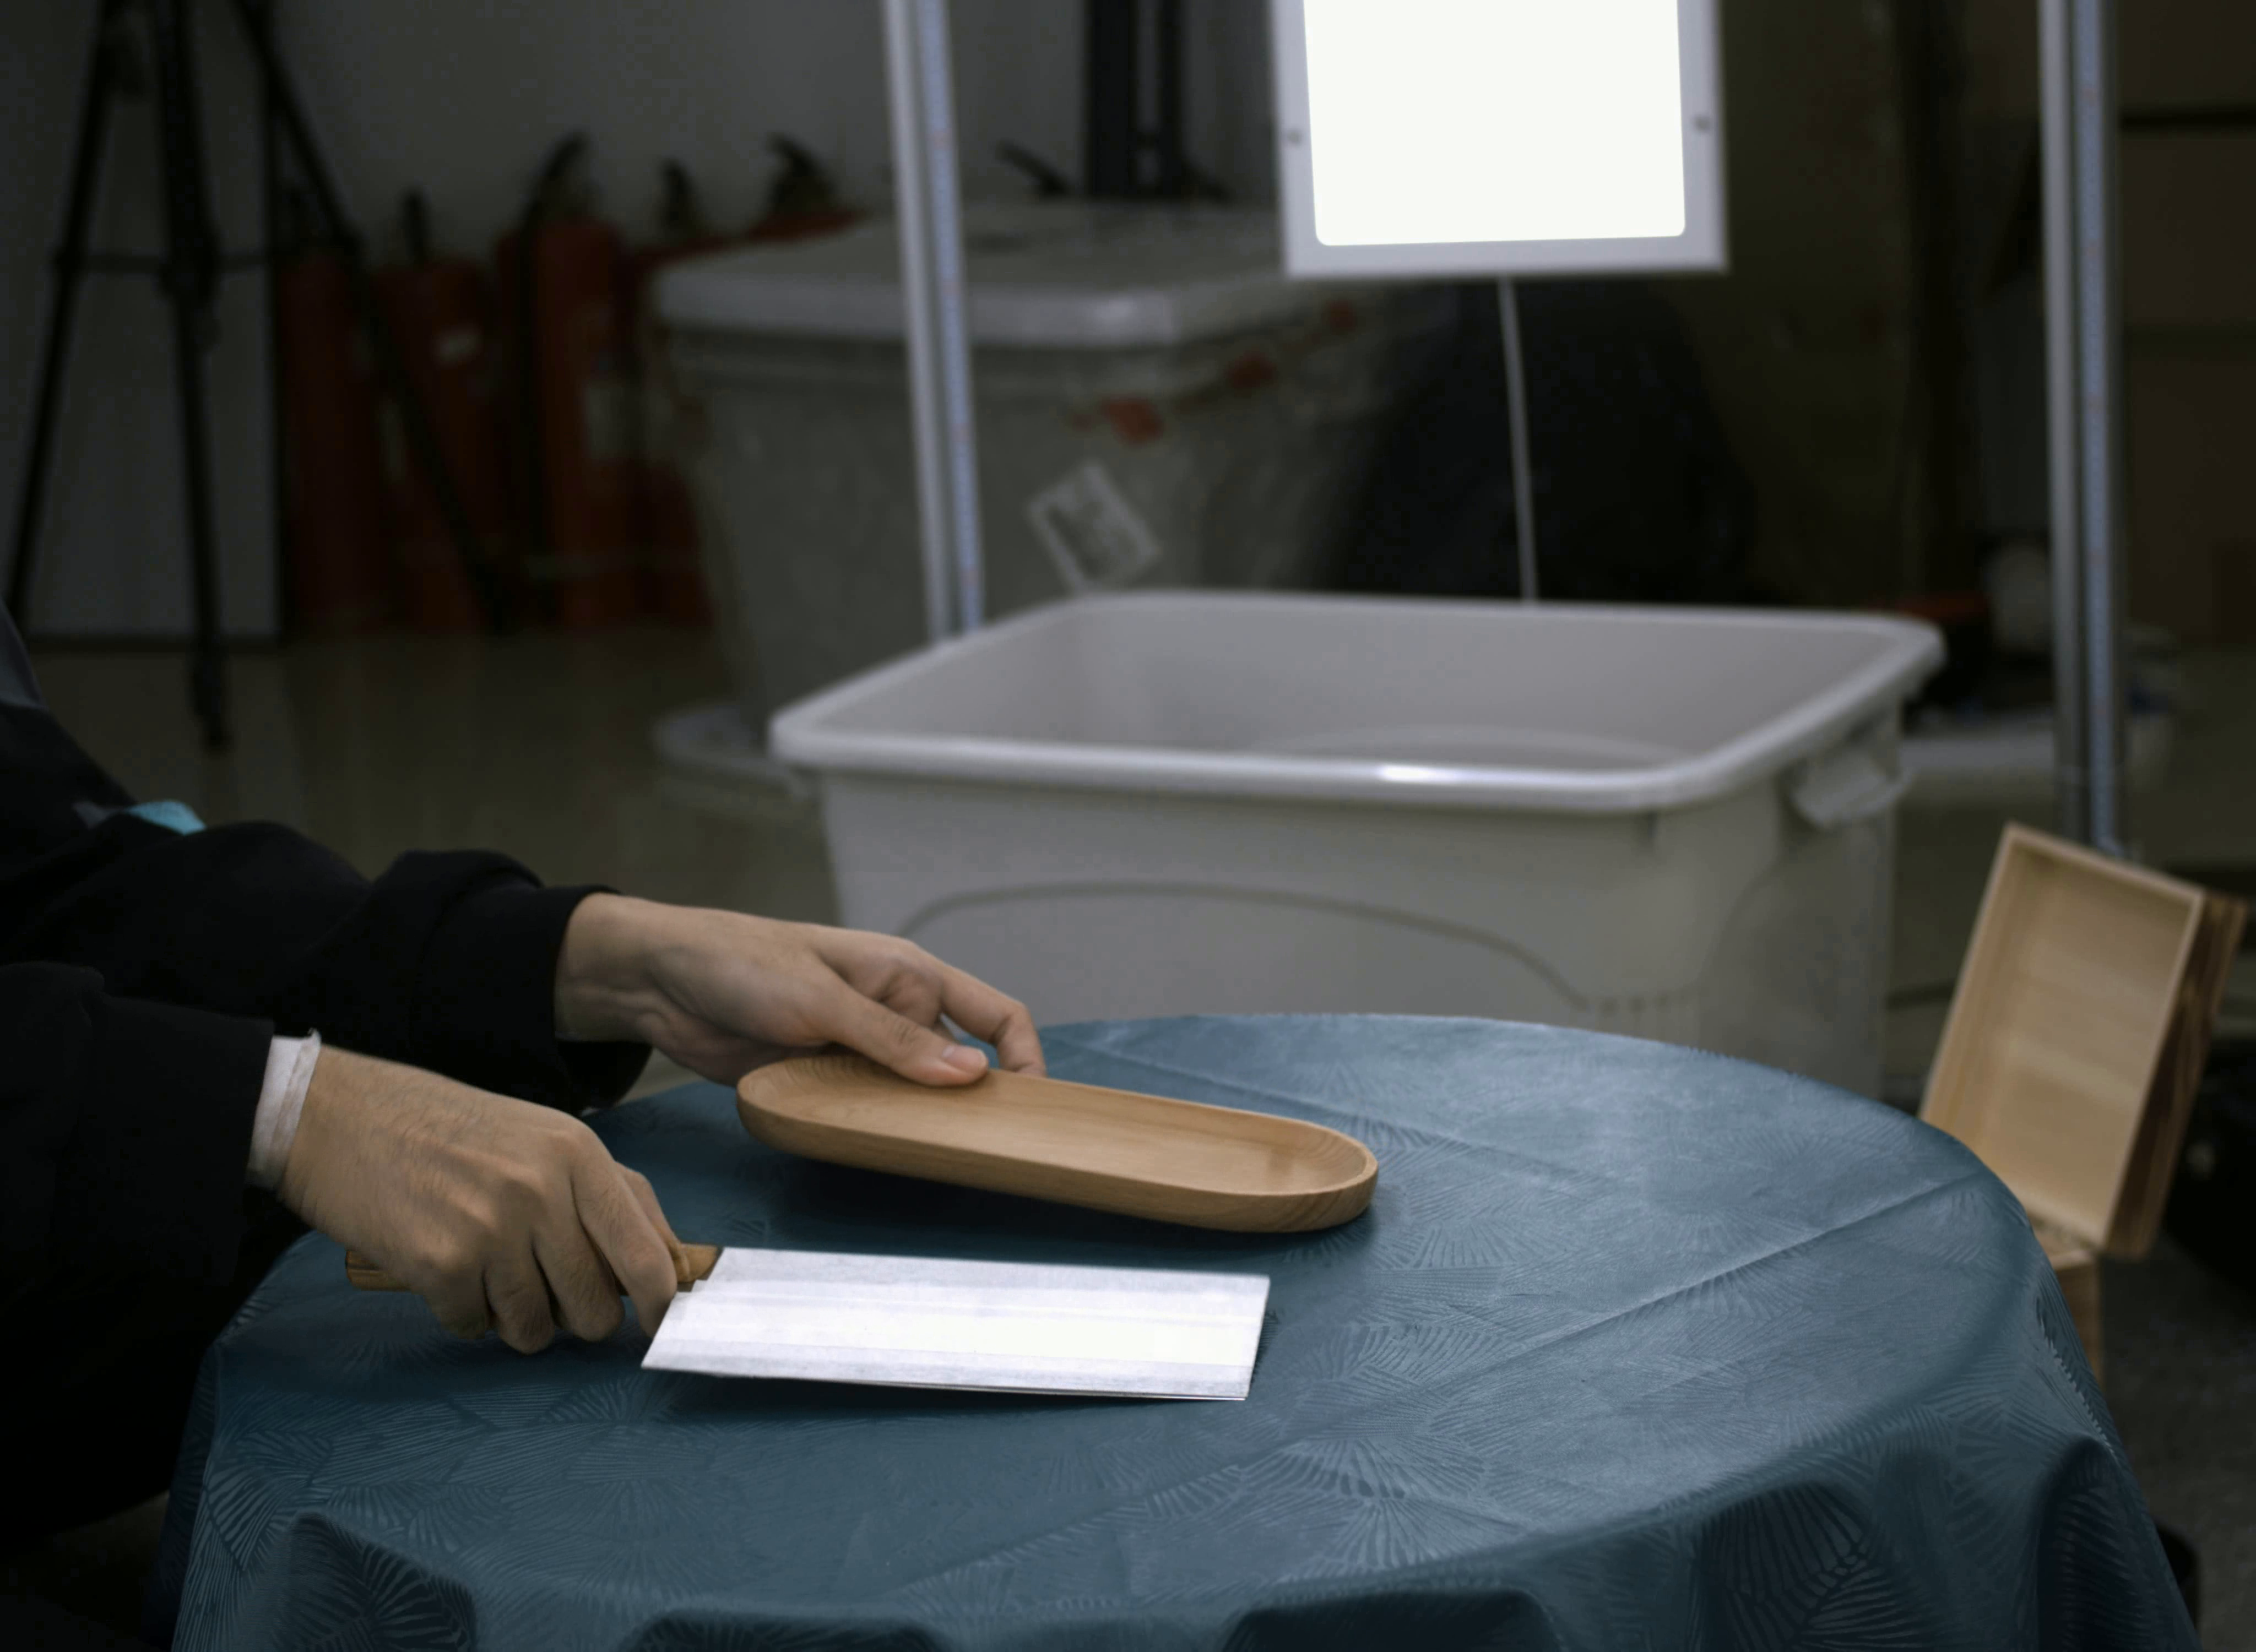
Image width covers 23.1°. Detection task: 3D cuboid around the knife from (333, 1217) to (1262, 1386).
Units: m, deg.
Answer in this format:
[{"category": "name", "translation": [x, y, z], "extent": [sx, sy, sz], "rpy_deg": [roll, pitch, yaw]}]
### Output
[{"category": "knife", "translation": [-0.109, 0.154, 1.750], "extent": [0.307, 0.021, 0.092], "rpy_deg": [3, 19, 8]}]

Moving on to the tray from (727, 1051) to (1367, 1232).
[{"category": "tray", "translation": [-0.029, 0.108, 1.891], "extent": [0.234, 0.020, 0.099], "rpy_deg": [7, 12, 23]}]
